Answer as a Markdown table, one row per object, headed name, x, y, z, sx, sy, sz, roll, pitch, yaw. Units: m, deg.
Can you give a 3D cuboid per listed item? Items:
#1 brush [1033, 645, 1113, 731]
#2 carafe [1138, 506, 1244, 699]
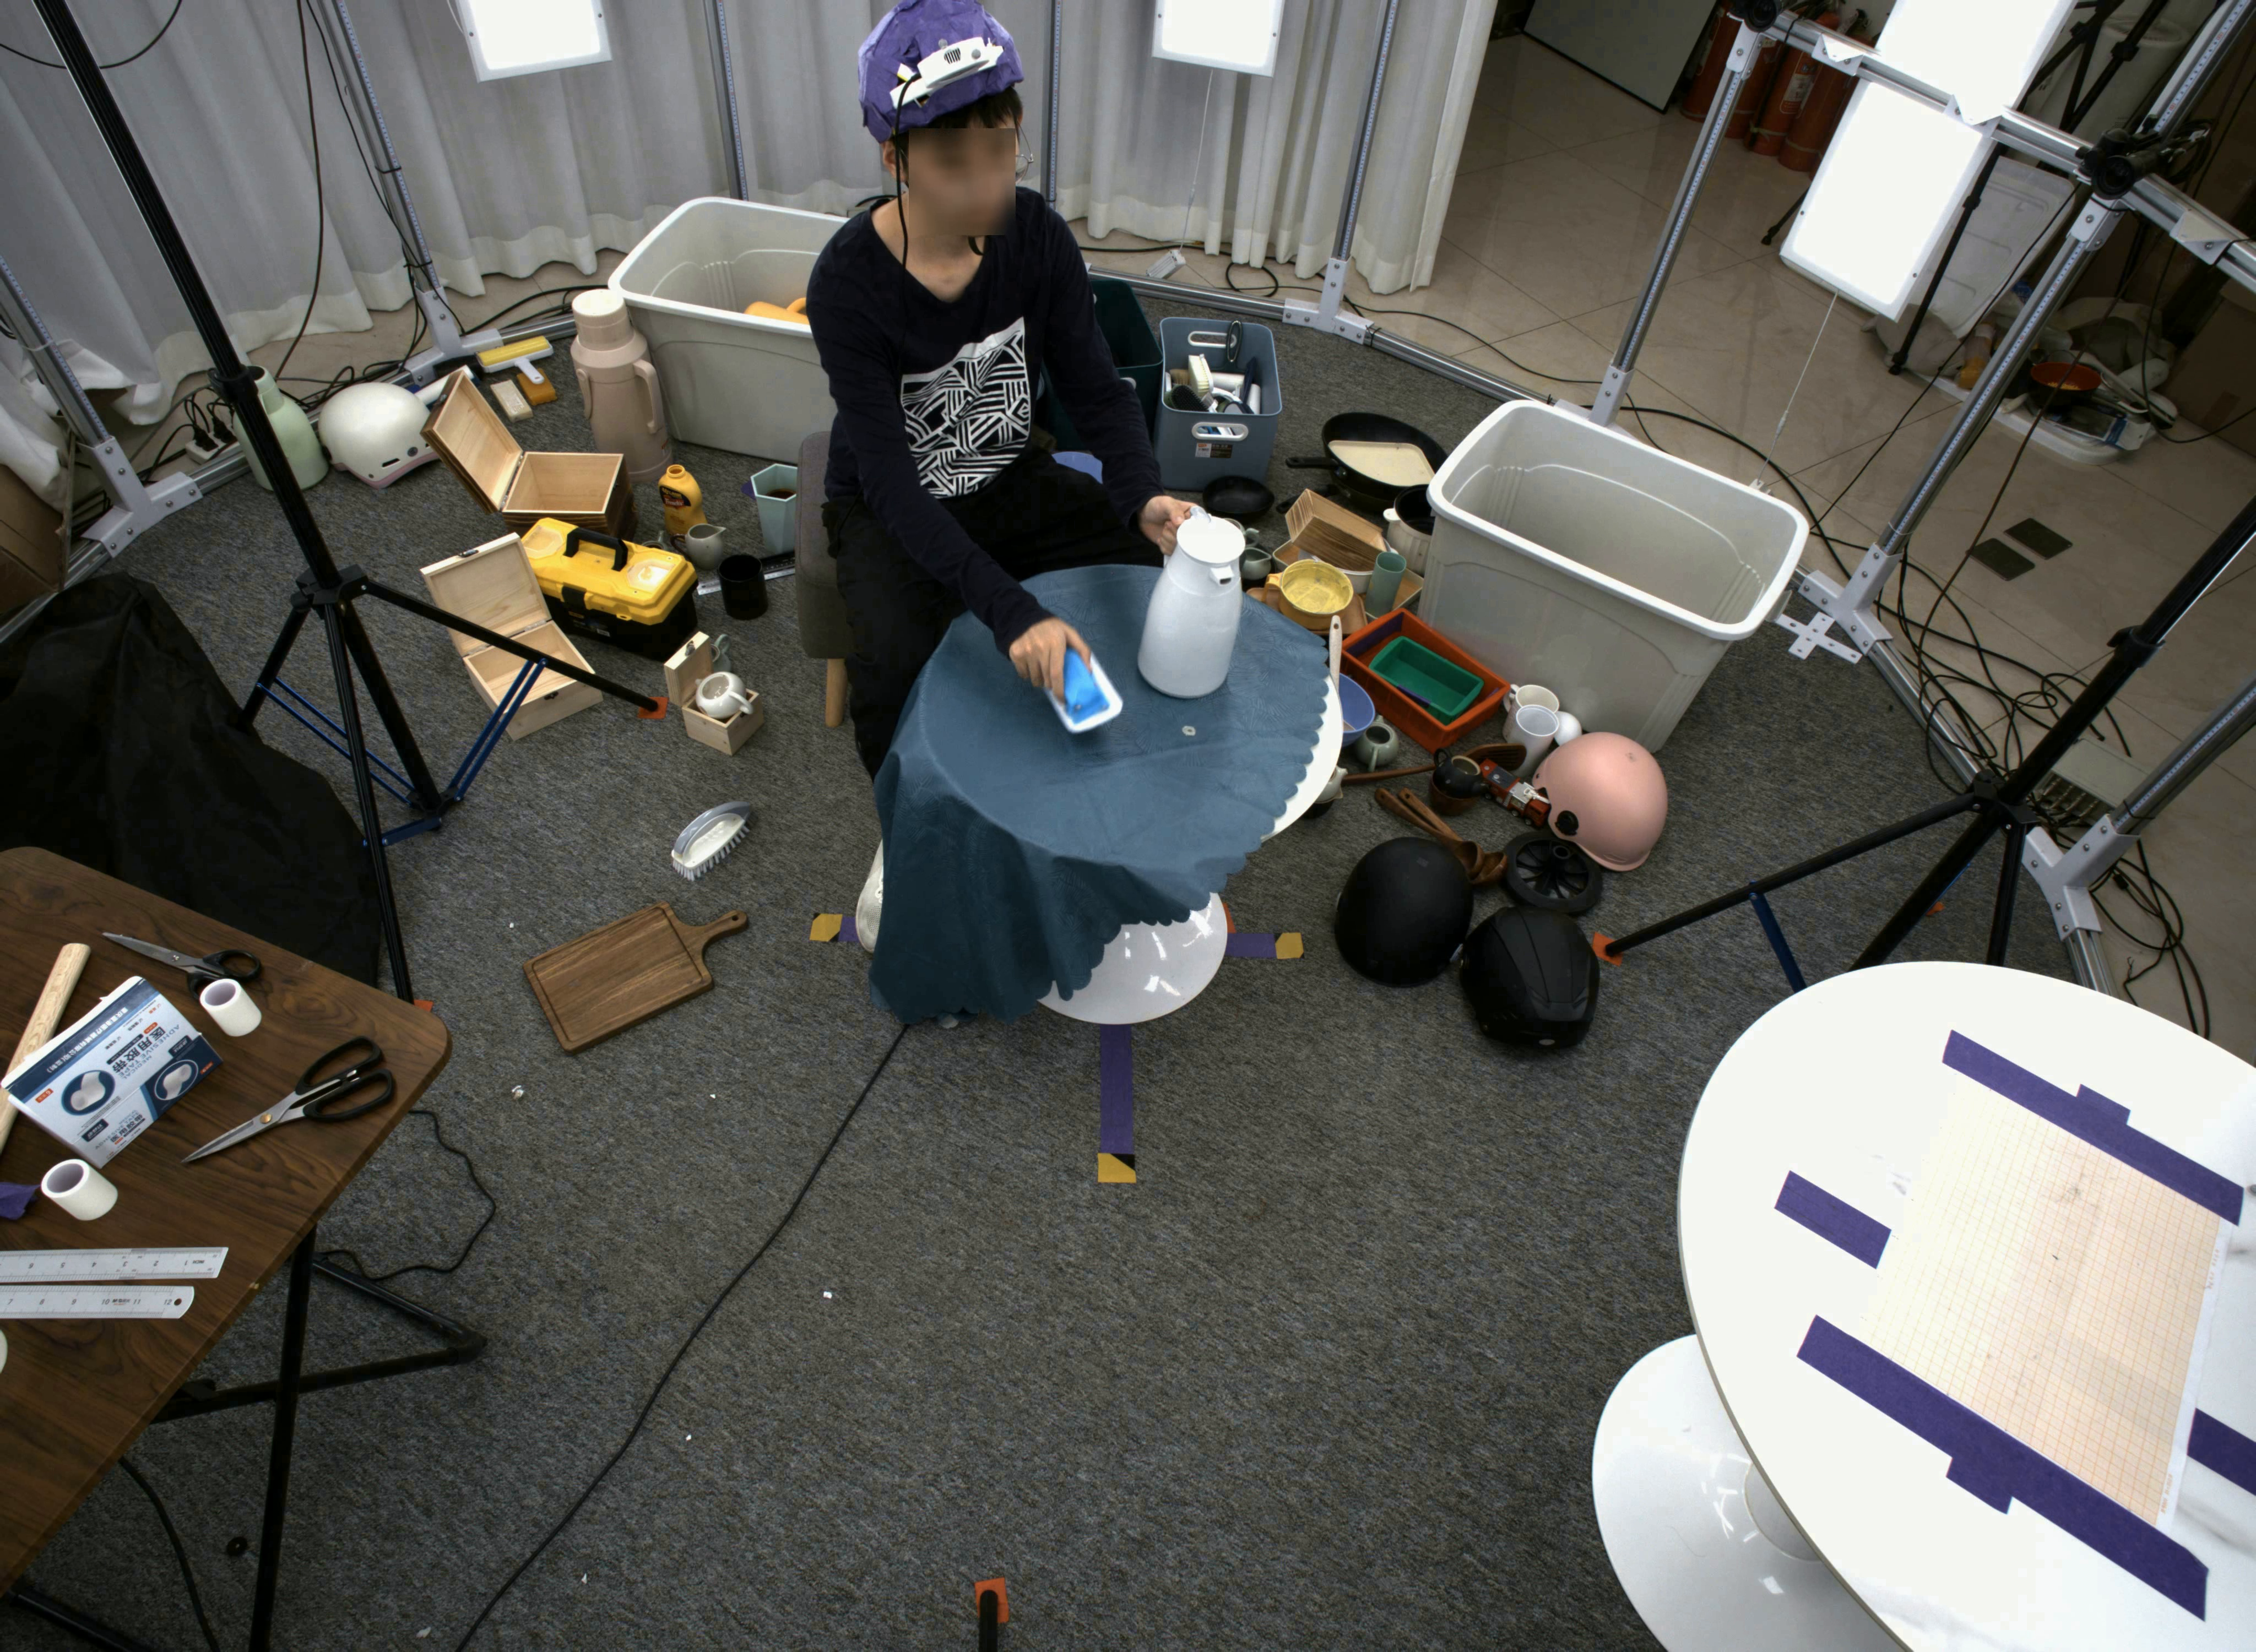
| name | x | y | z | sx | sy | sz | roll | pitch | yaw |
| --- | --- | --- | --- | --- | --- | --- | --- | --- | --- |
| brush | -0.077 | -0.196 | 1.756 | 0.084 | 0.054 | 0.147 | -20 | 51 | -7 |
| carafe | 0.086 | -0.322 | 1.786 | 0.132 | 0.243 | 0.171 | -14 | 54 | -18 |
